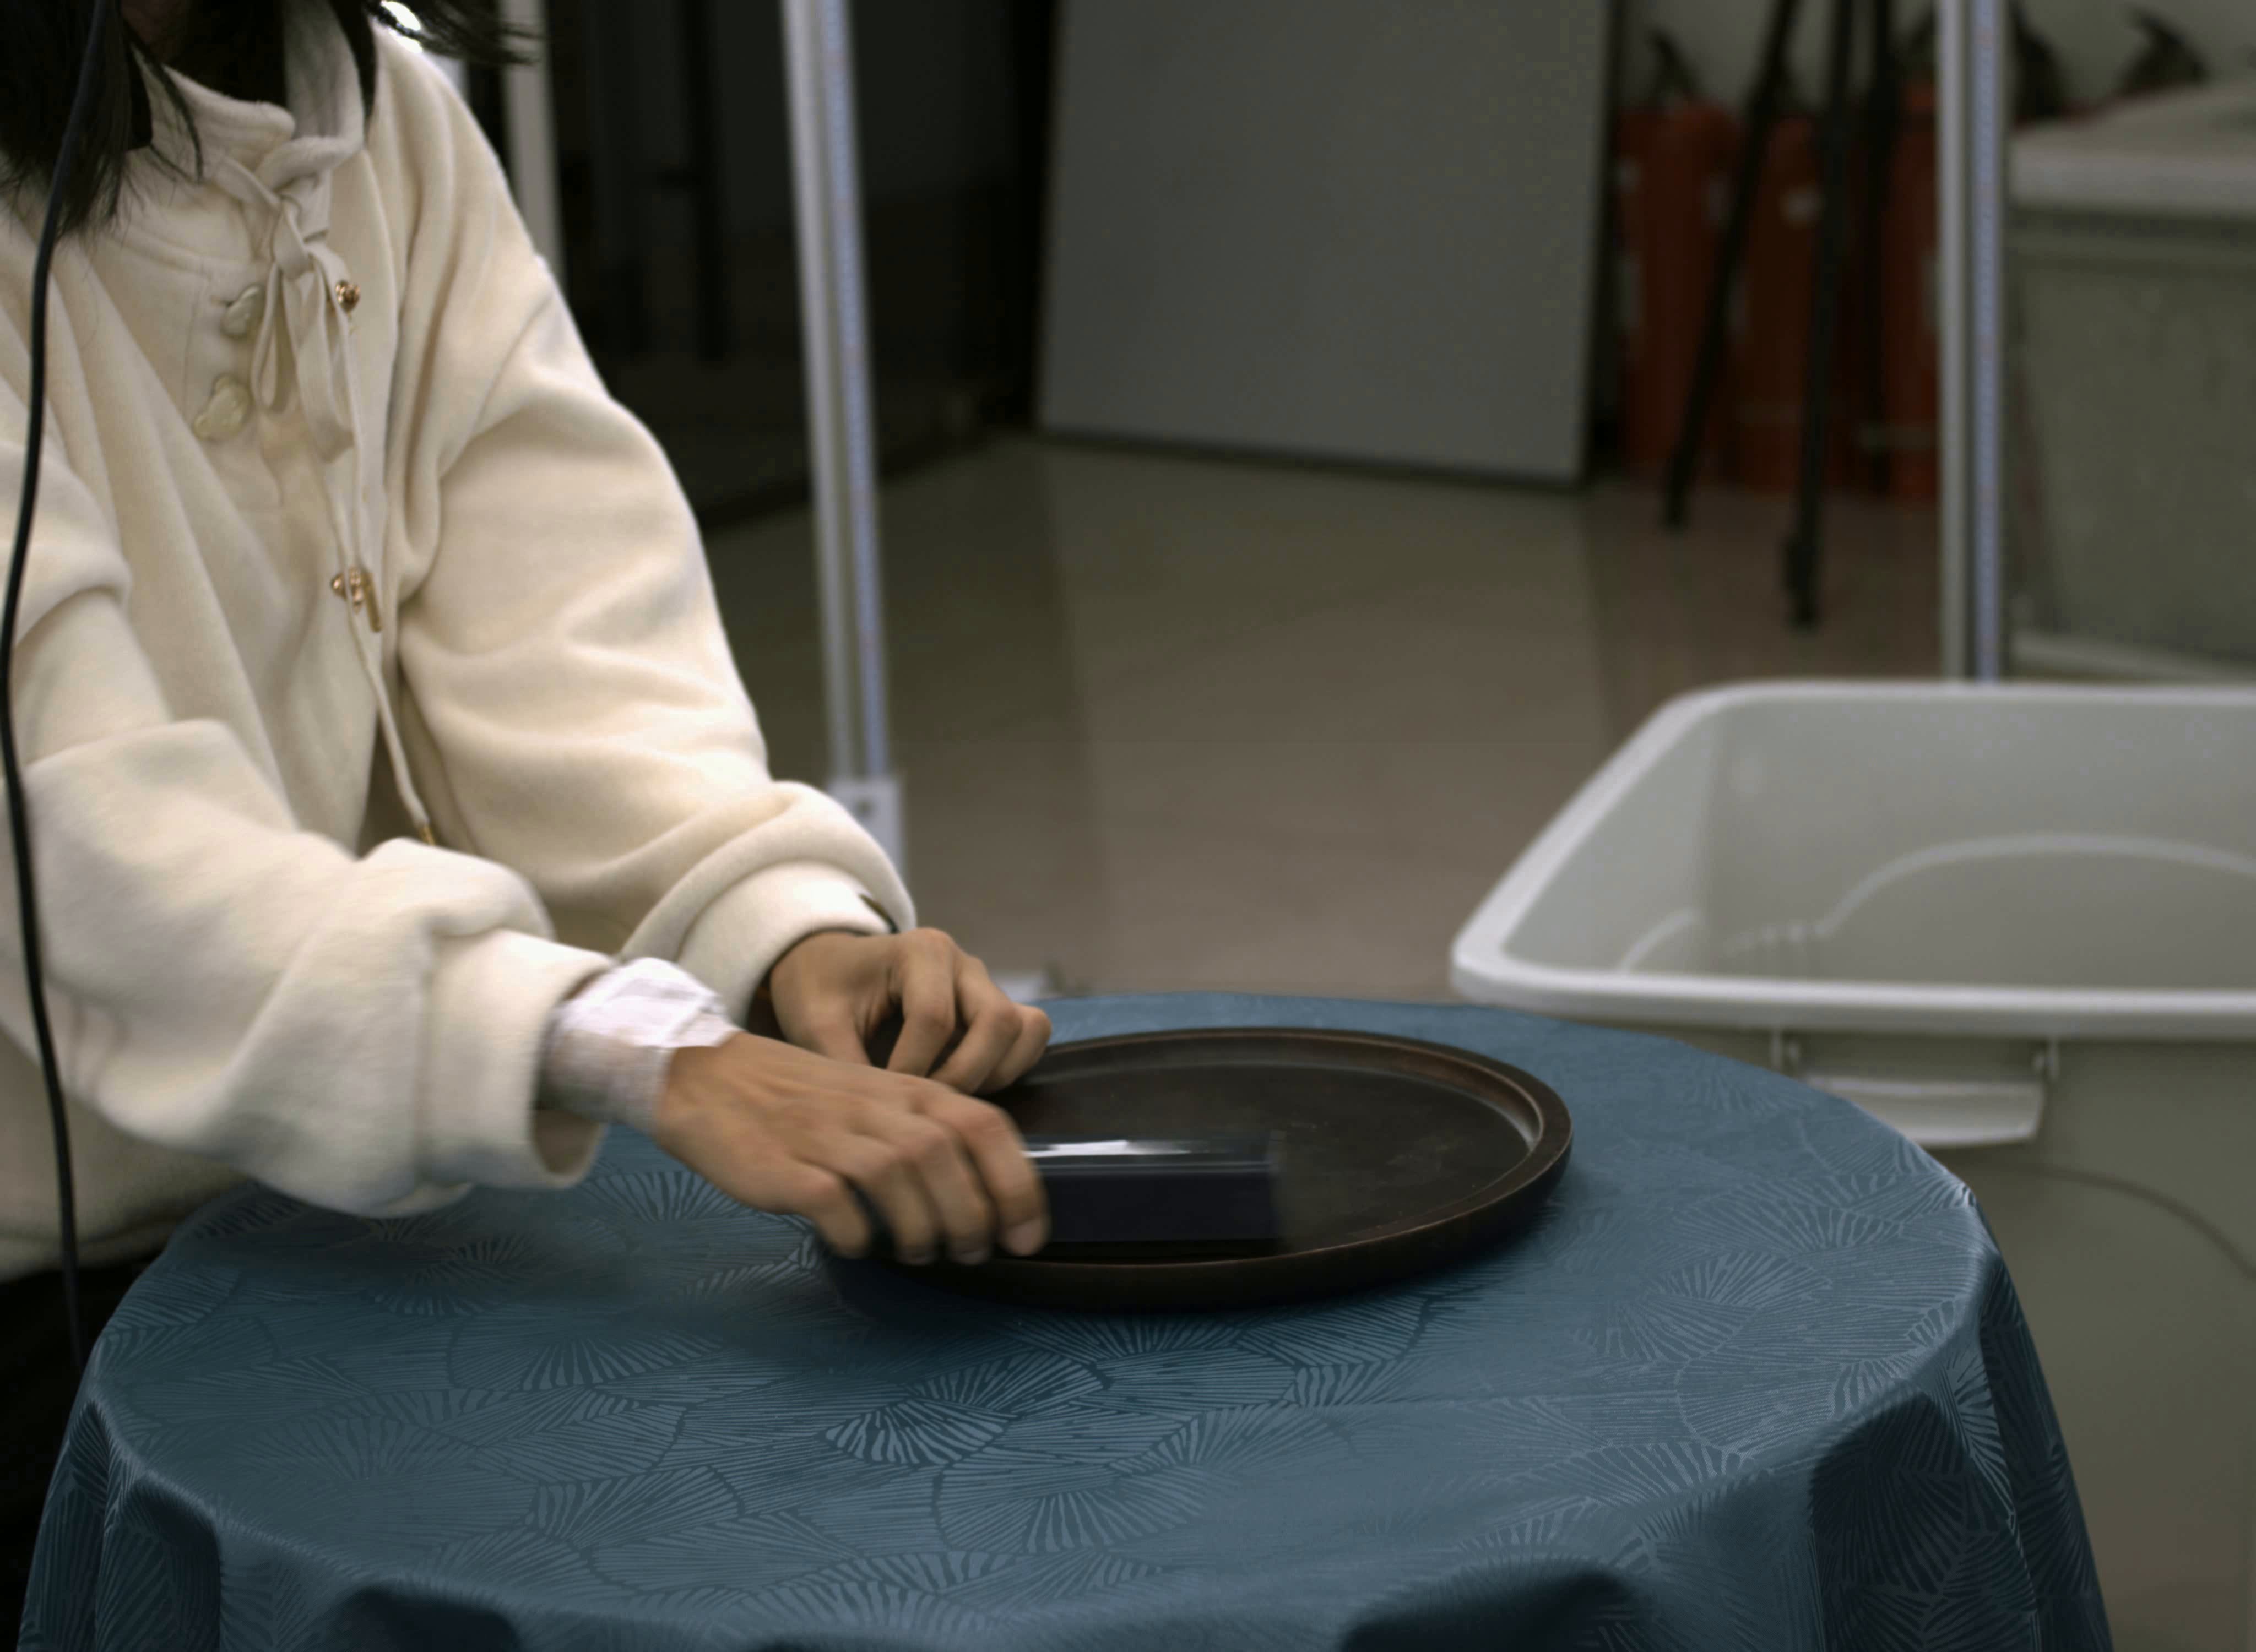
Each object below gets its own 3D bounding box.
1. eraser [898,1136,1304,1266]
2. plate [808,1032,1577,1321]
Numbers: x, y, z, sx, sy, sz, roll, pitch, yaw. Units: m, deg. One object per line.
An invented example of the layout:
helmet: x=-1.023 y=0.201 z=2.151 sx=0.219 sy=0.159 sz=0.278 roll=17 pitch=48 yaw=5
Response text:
eraser: x=-0.006 y=0.115 z=1.659 sx=0.124 sy=0.031 sz=0.053 roll=-3 pitch=5 yaw=7
plate: x=0.021 y=0.111 z=1.754 sx=0.251 sy=0.029 sz=0.255 roll=-3 pitch=15 yaw=0
